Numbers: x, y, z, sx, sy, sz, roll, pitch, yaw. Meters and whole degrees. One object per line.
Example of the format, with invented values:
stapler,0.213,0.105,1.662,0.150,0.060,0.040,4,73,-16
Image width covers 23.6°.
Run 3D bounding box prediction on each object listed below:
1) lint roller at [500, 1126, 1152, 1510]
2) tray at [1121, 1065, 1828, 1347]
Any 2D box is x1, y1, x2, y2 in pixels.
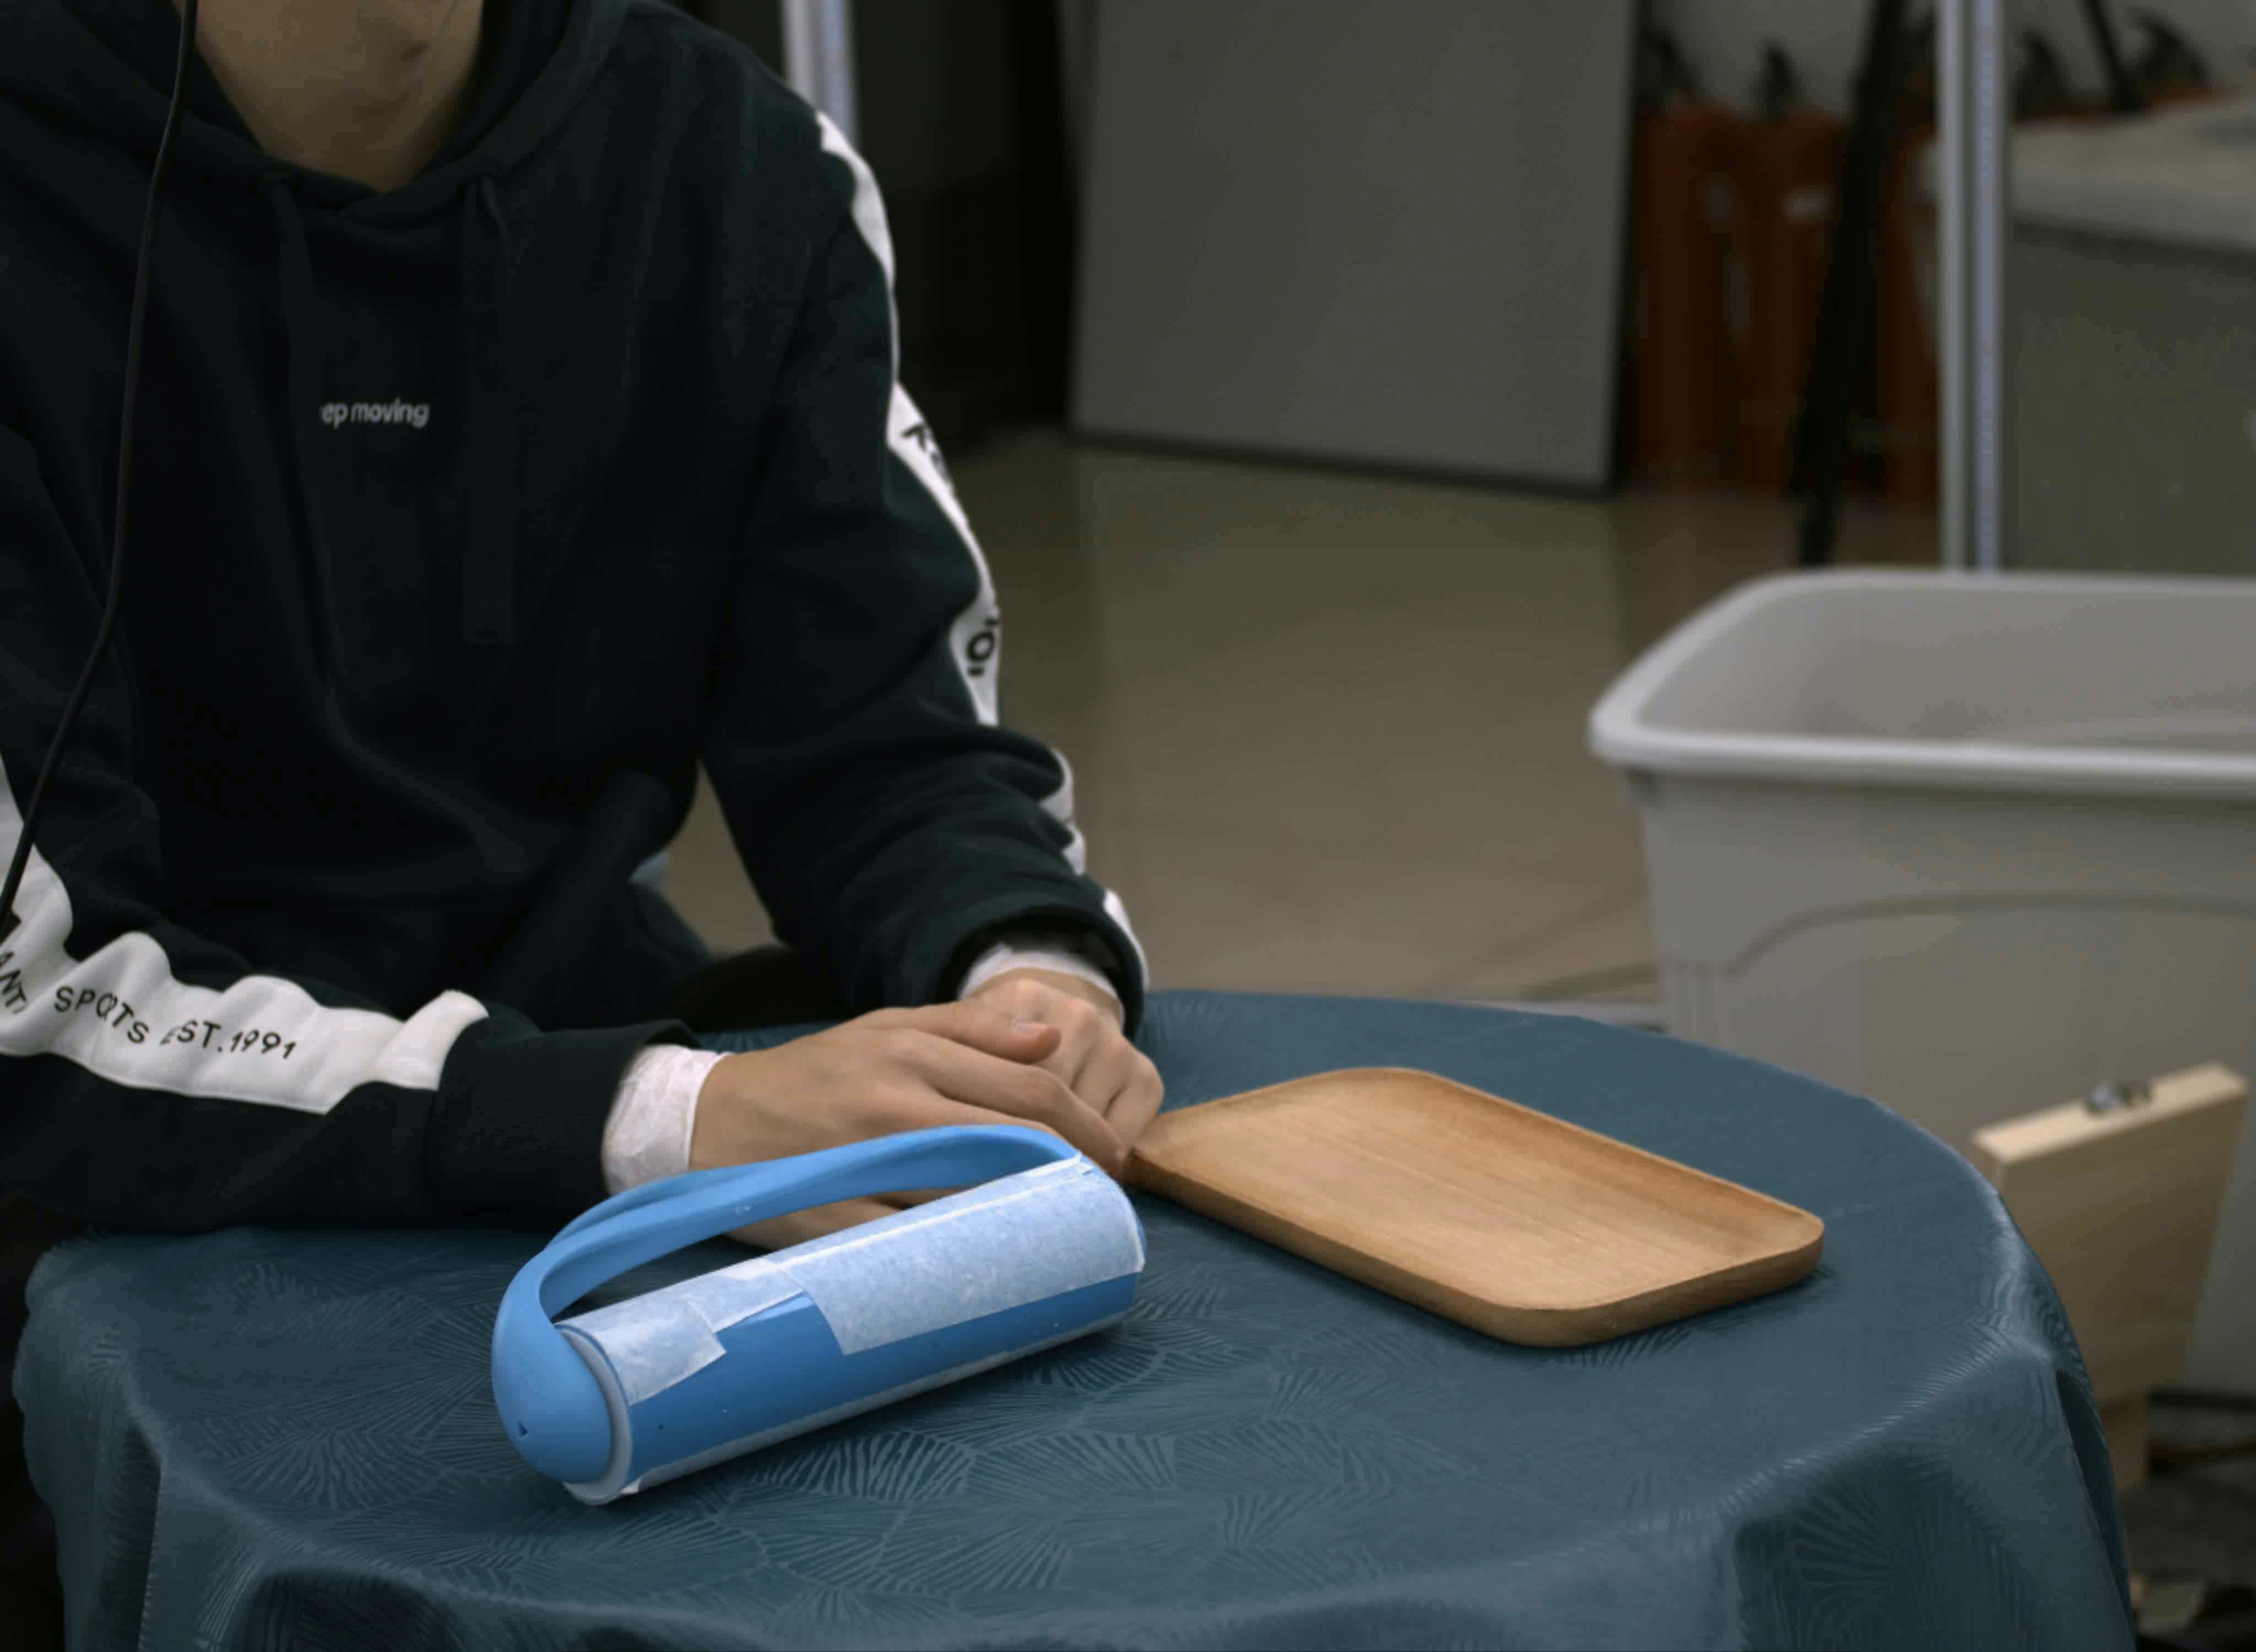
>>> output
lint roller,-0.123,0.137,1.623,0.224,0.068,0.182,-18,20,-40
tray,0.106,0.119,1.714,0.127,0.023,0.253,-10,14,-30
